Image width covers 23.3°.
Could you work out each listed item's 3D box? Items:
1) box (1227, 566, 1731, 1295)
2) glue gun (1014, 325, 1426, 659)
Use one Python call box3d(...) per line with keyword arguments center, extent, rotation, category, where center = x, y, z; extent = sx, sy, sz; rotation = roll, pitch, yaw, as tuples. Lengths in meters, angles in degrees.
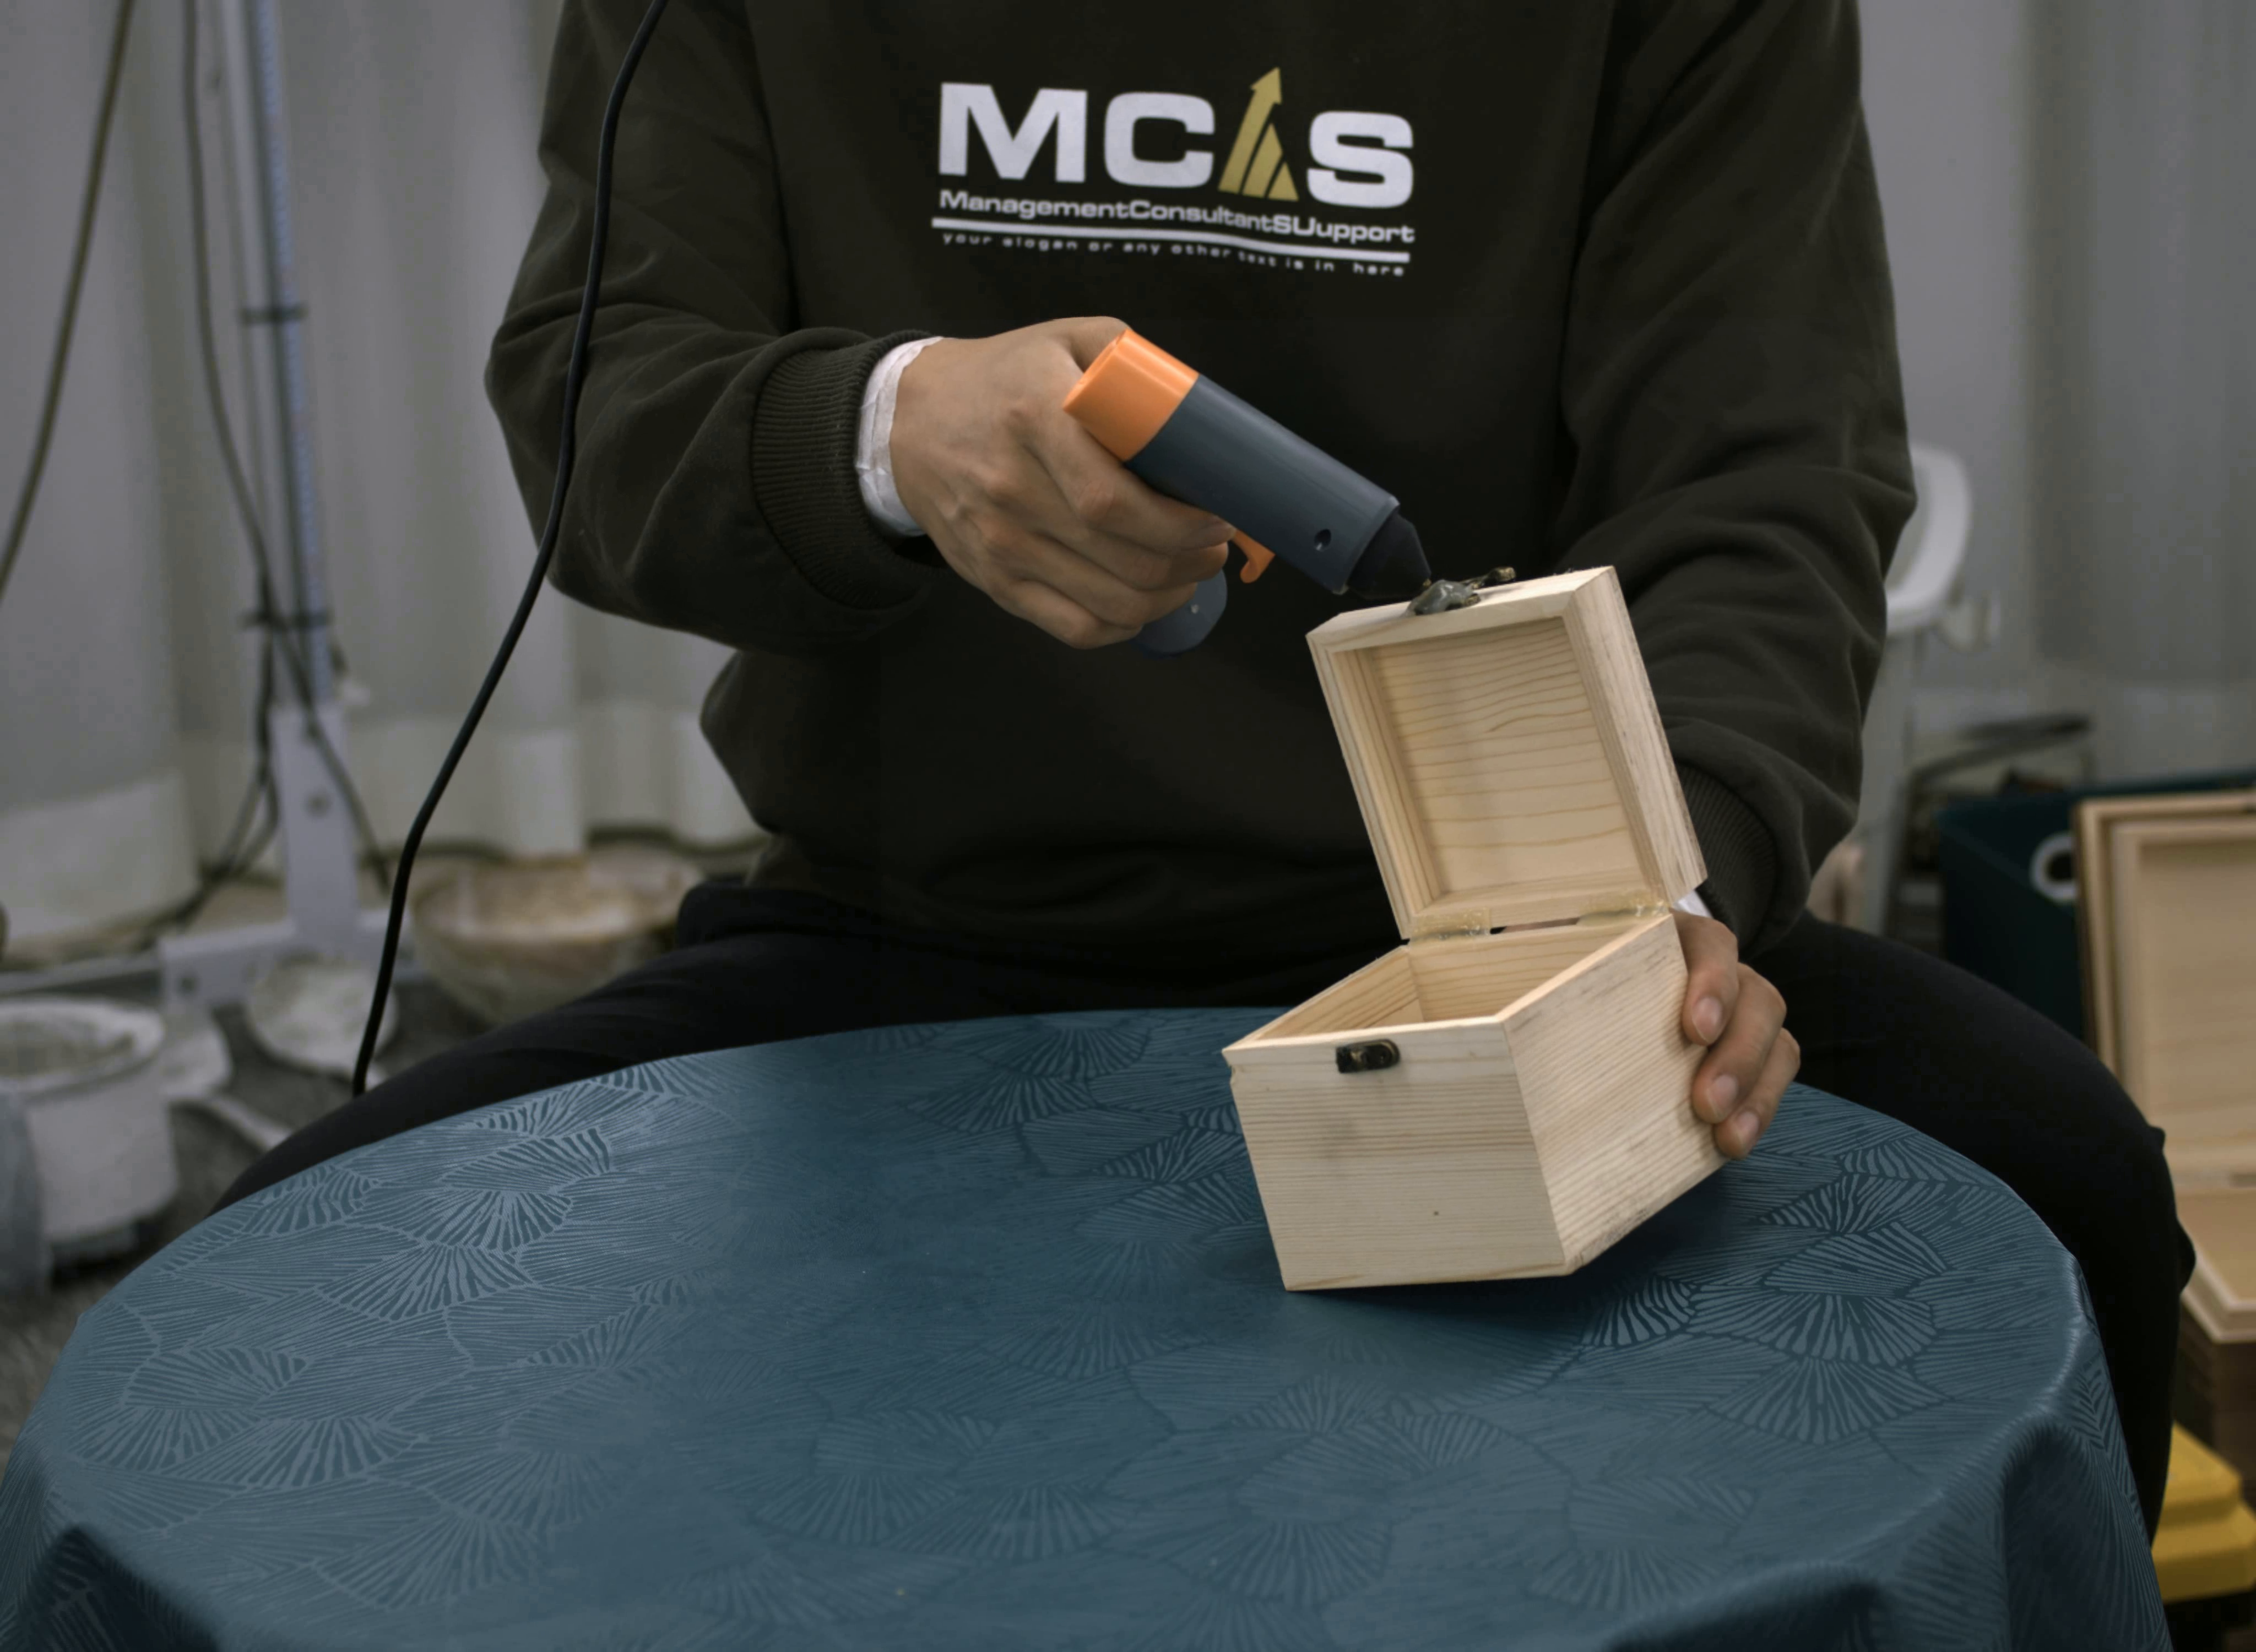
box3d(center=(0.097, 0.030, 1.621), extent=(0.102, 0.184, 0.134), rotation=(-8, 11, 37), category="box")
box3d(center=(0.025, -0.095, 1.691), extent=(0.041, 0.117, 0.139), rotation=(-51, 7, -23), category="glue gun")
